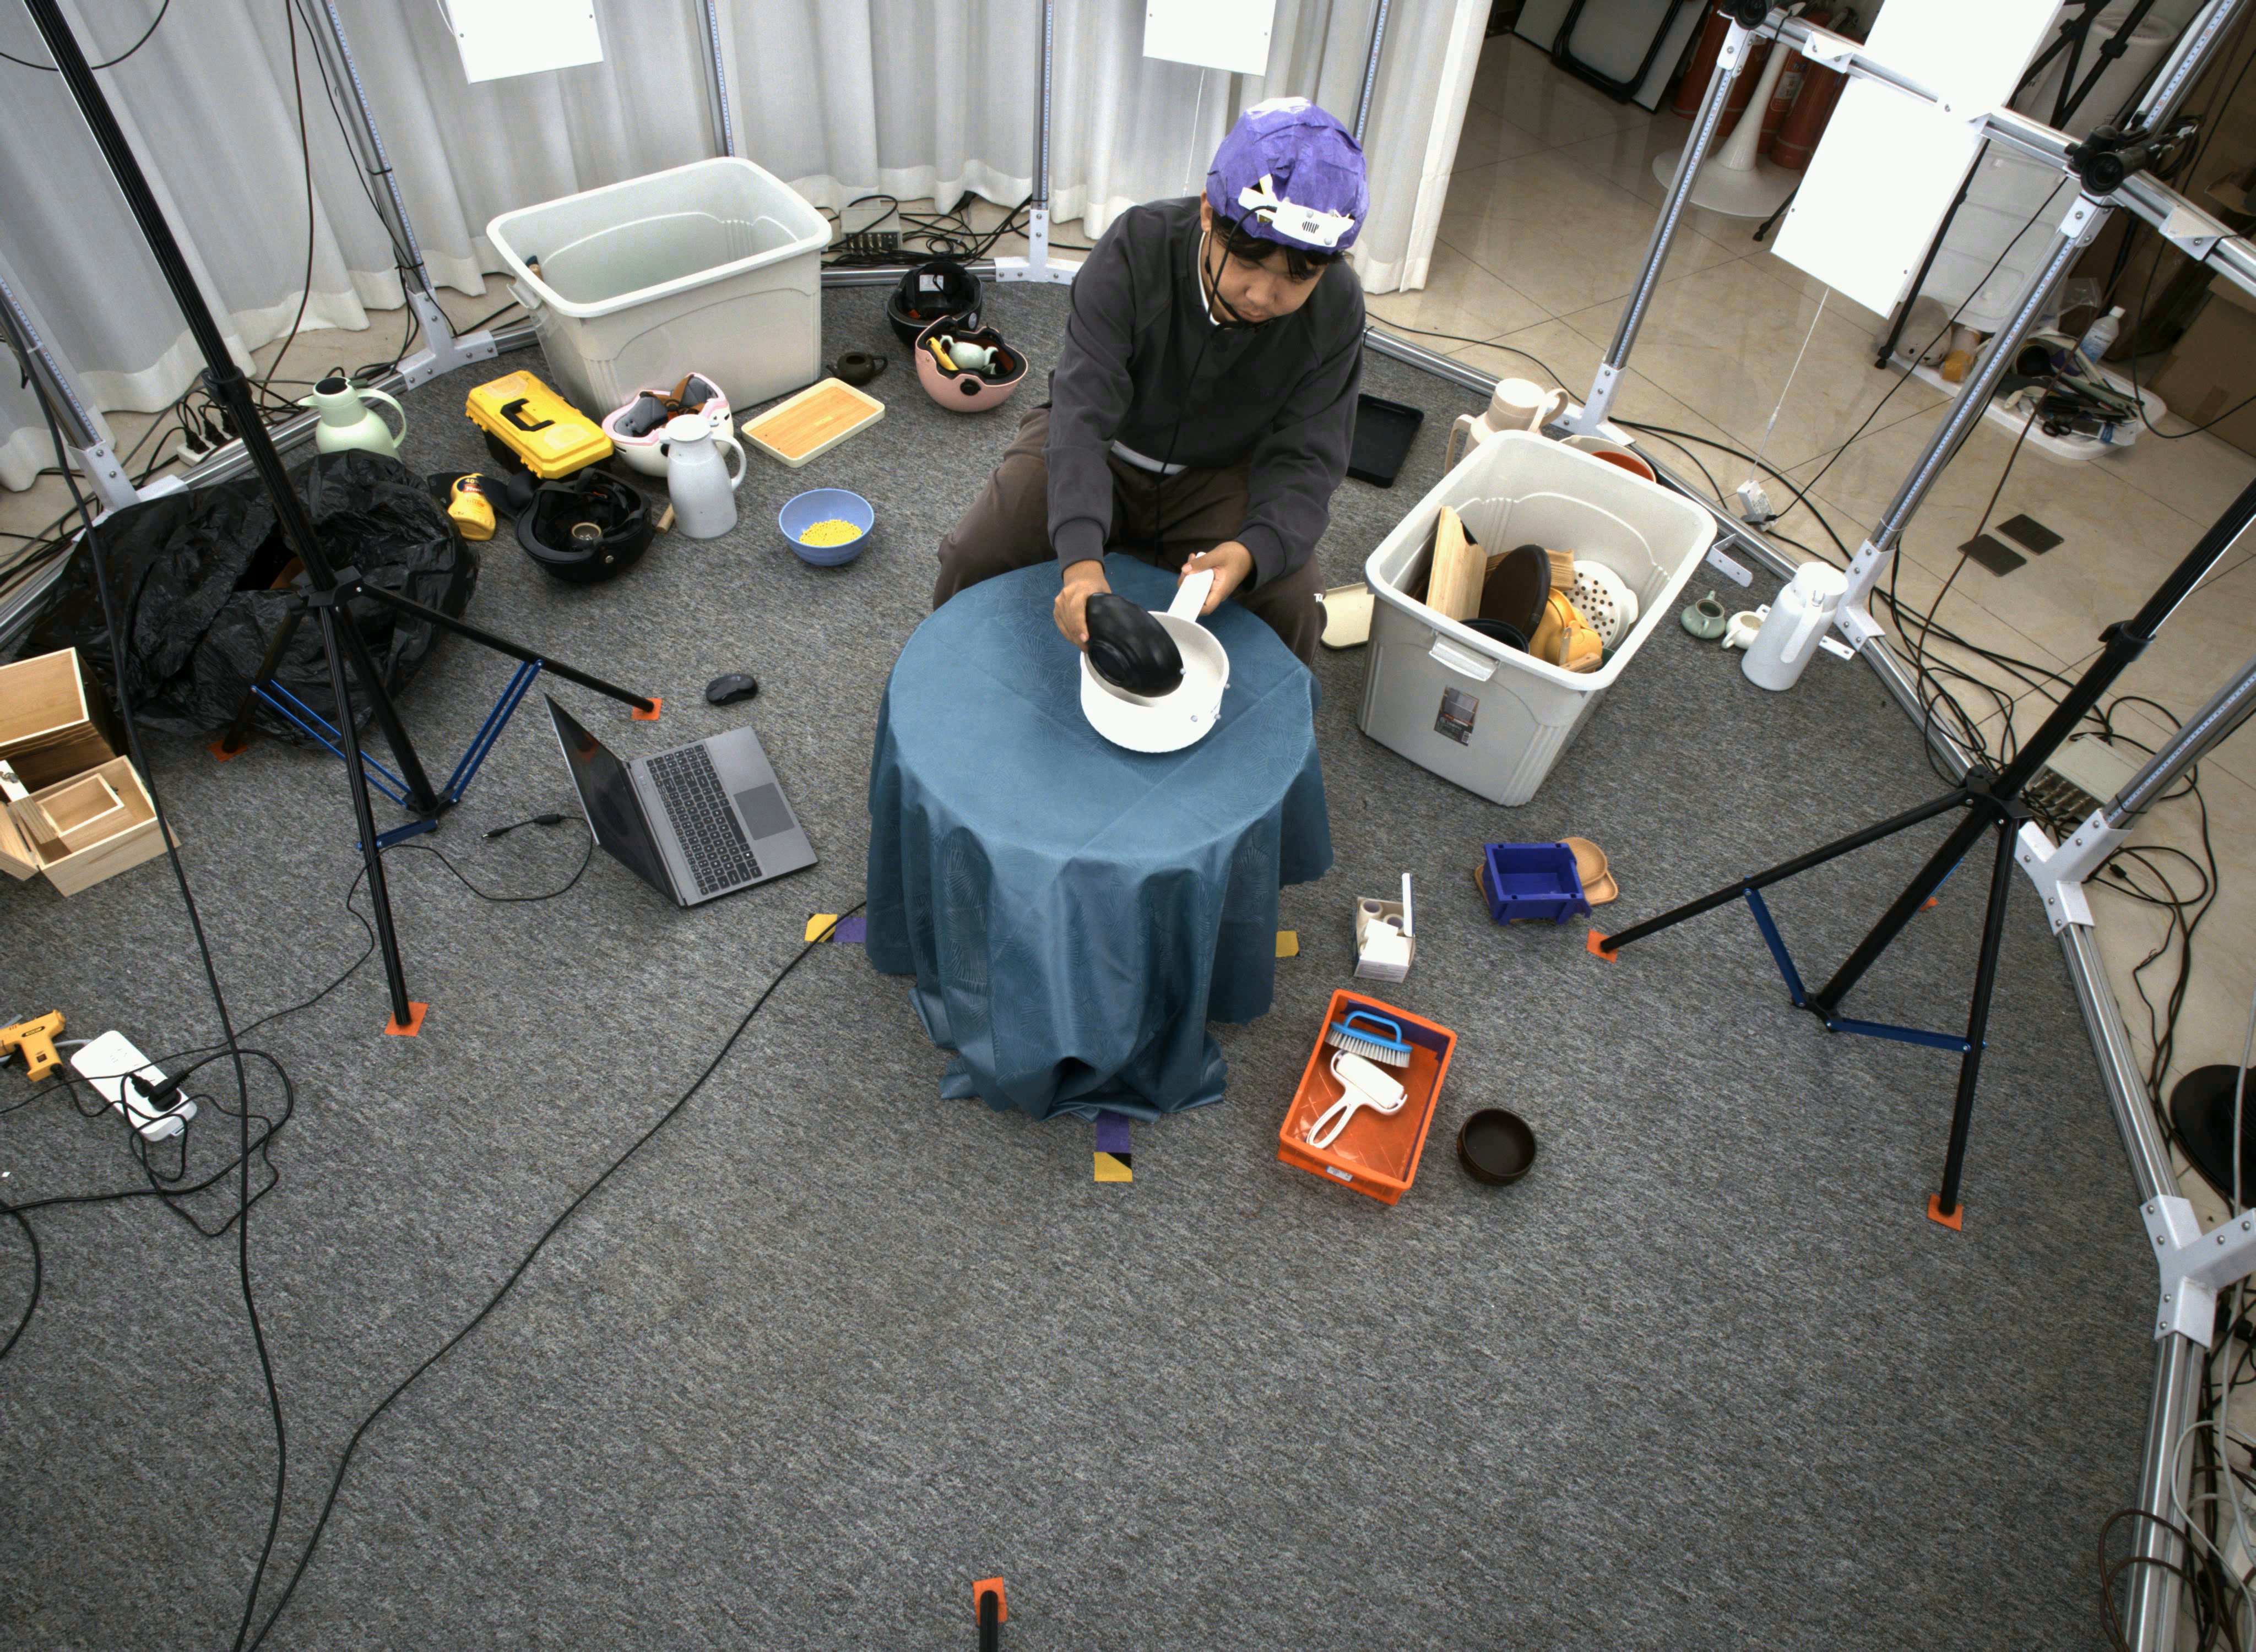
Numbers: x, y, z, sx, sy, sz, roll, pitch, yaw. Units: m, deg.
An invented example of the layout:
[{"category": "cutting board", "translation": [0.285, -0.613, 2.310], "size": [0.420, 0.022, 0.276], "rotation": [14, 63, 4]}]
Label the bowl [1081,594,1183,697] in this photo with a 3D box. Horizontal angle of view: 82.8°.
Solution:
[{"category": "bowl", "translation": [-0.006, -0.227, 1.679], "size": [0.067, 0.168, 0.137], "rotation": [-46, 20, -23]}]

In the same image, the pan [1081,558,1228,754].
[{"category": "pan", "translation": [0.059, -0.244, 1.825], "size": [0.202, 0.099, 0.362], "rotation": [16, 47, 11]}]
